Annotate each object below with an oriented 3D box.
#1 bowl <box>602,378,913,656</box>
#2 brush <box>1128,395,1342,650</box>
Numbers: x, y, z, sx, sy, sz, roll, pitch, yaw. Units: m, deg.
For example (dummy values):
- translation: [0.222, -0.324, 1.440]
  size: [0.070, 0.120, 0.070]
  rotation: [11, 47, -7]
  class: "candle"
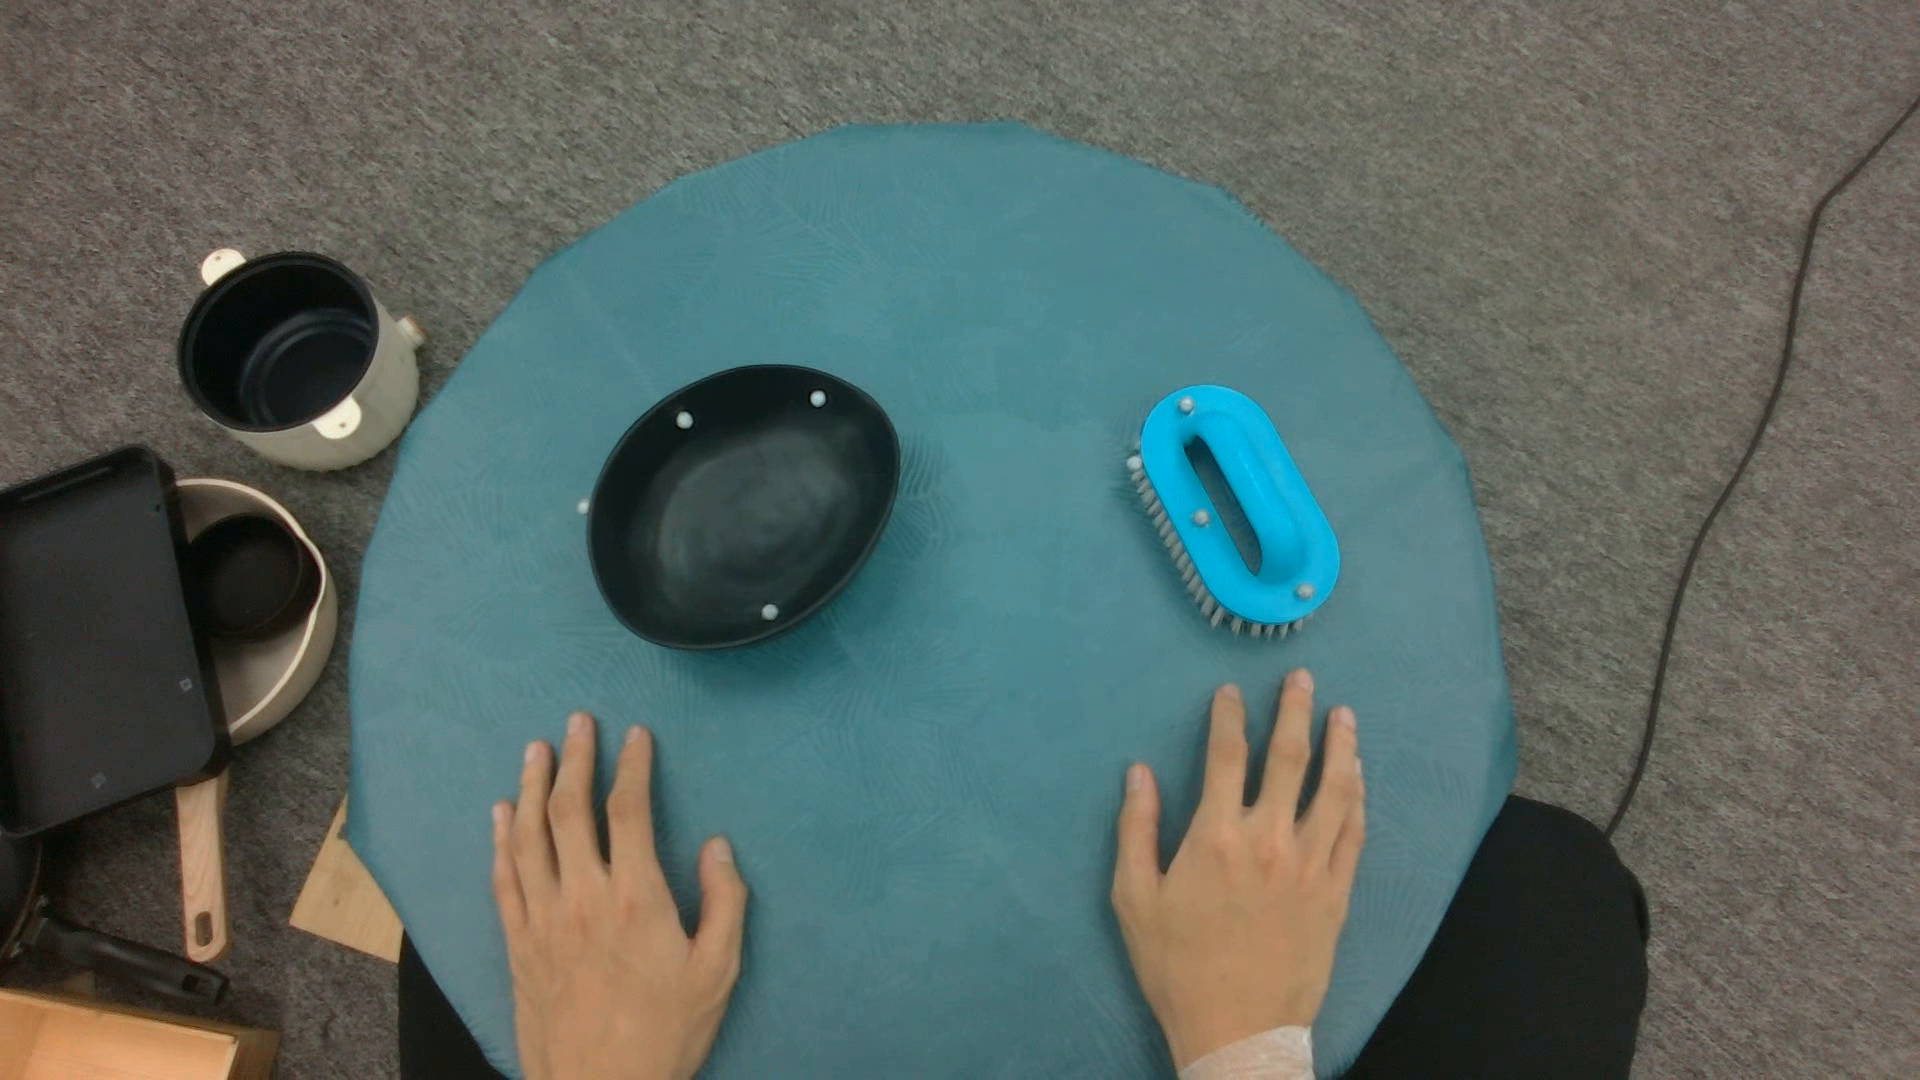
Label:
- translation: [-0.102, -0.008, 0.721]
  size: [0.137, 0.066, 0.171]
  rotation: [43, 75, 13]
  class: "bowl"
- translation: [0.147, -0.017, 0.718]
  size: [0.084, 0.063, 0.142]
  rotation: [-19, 73, -11]
  class: "brush"
